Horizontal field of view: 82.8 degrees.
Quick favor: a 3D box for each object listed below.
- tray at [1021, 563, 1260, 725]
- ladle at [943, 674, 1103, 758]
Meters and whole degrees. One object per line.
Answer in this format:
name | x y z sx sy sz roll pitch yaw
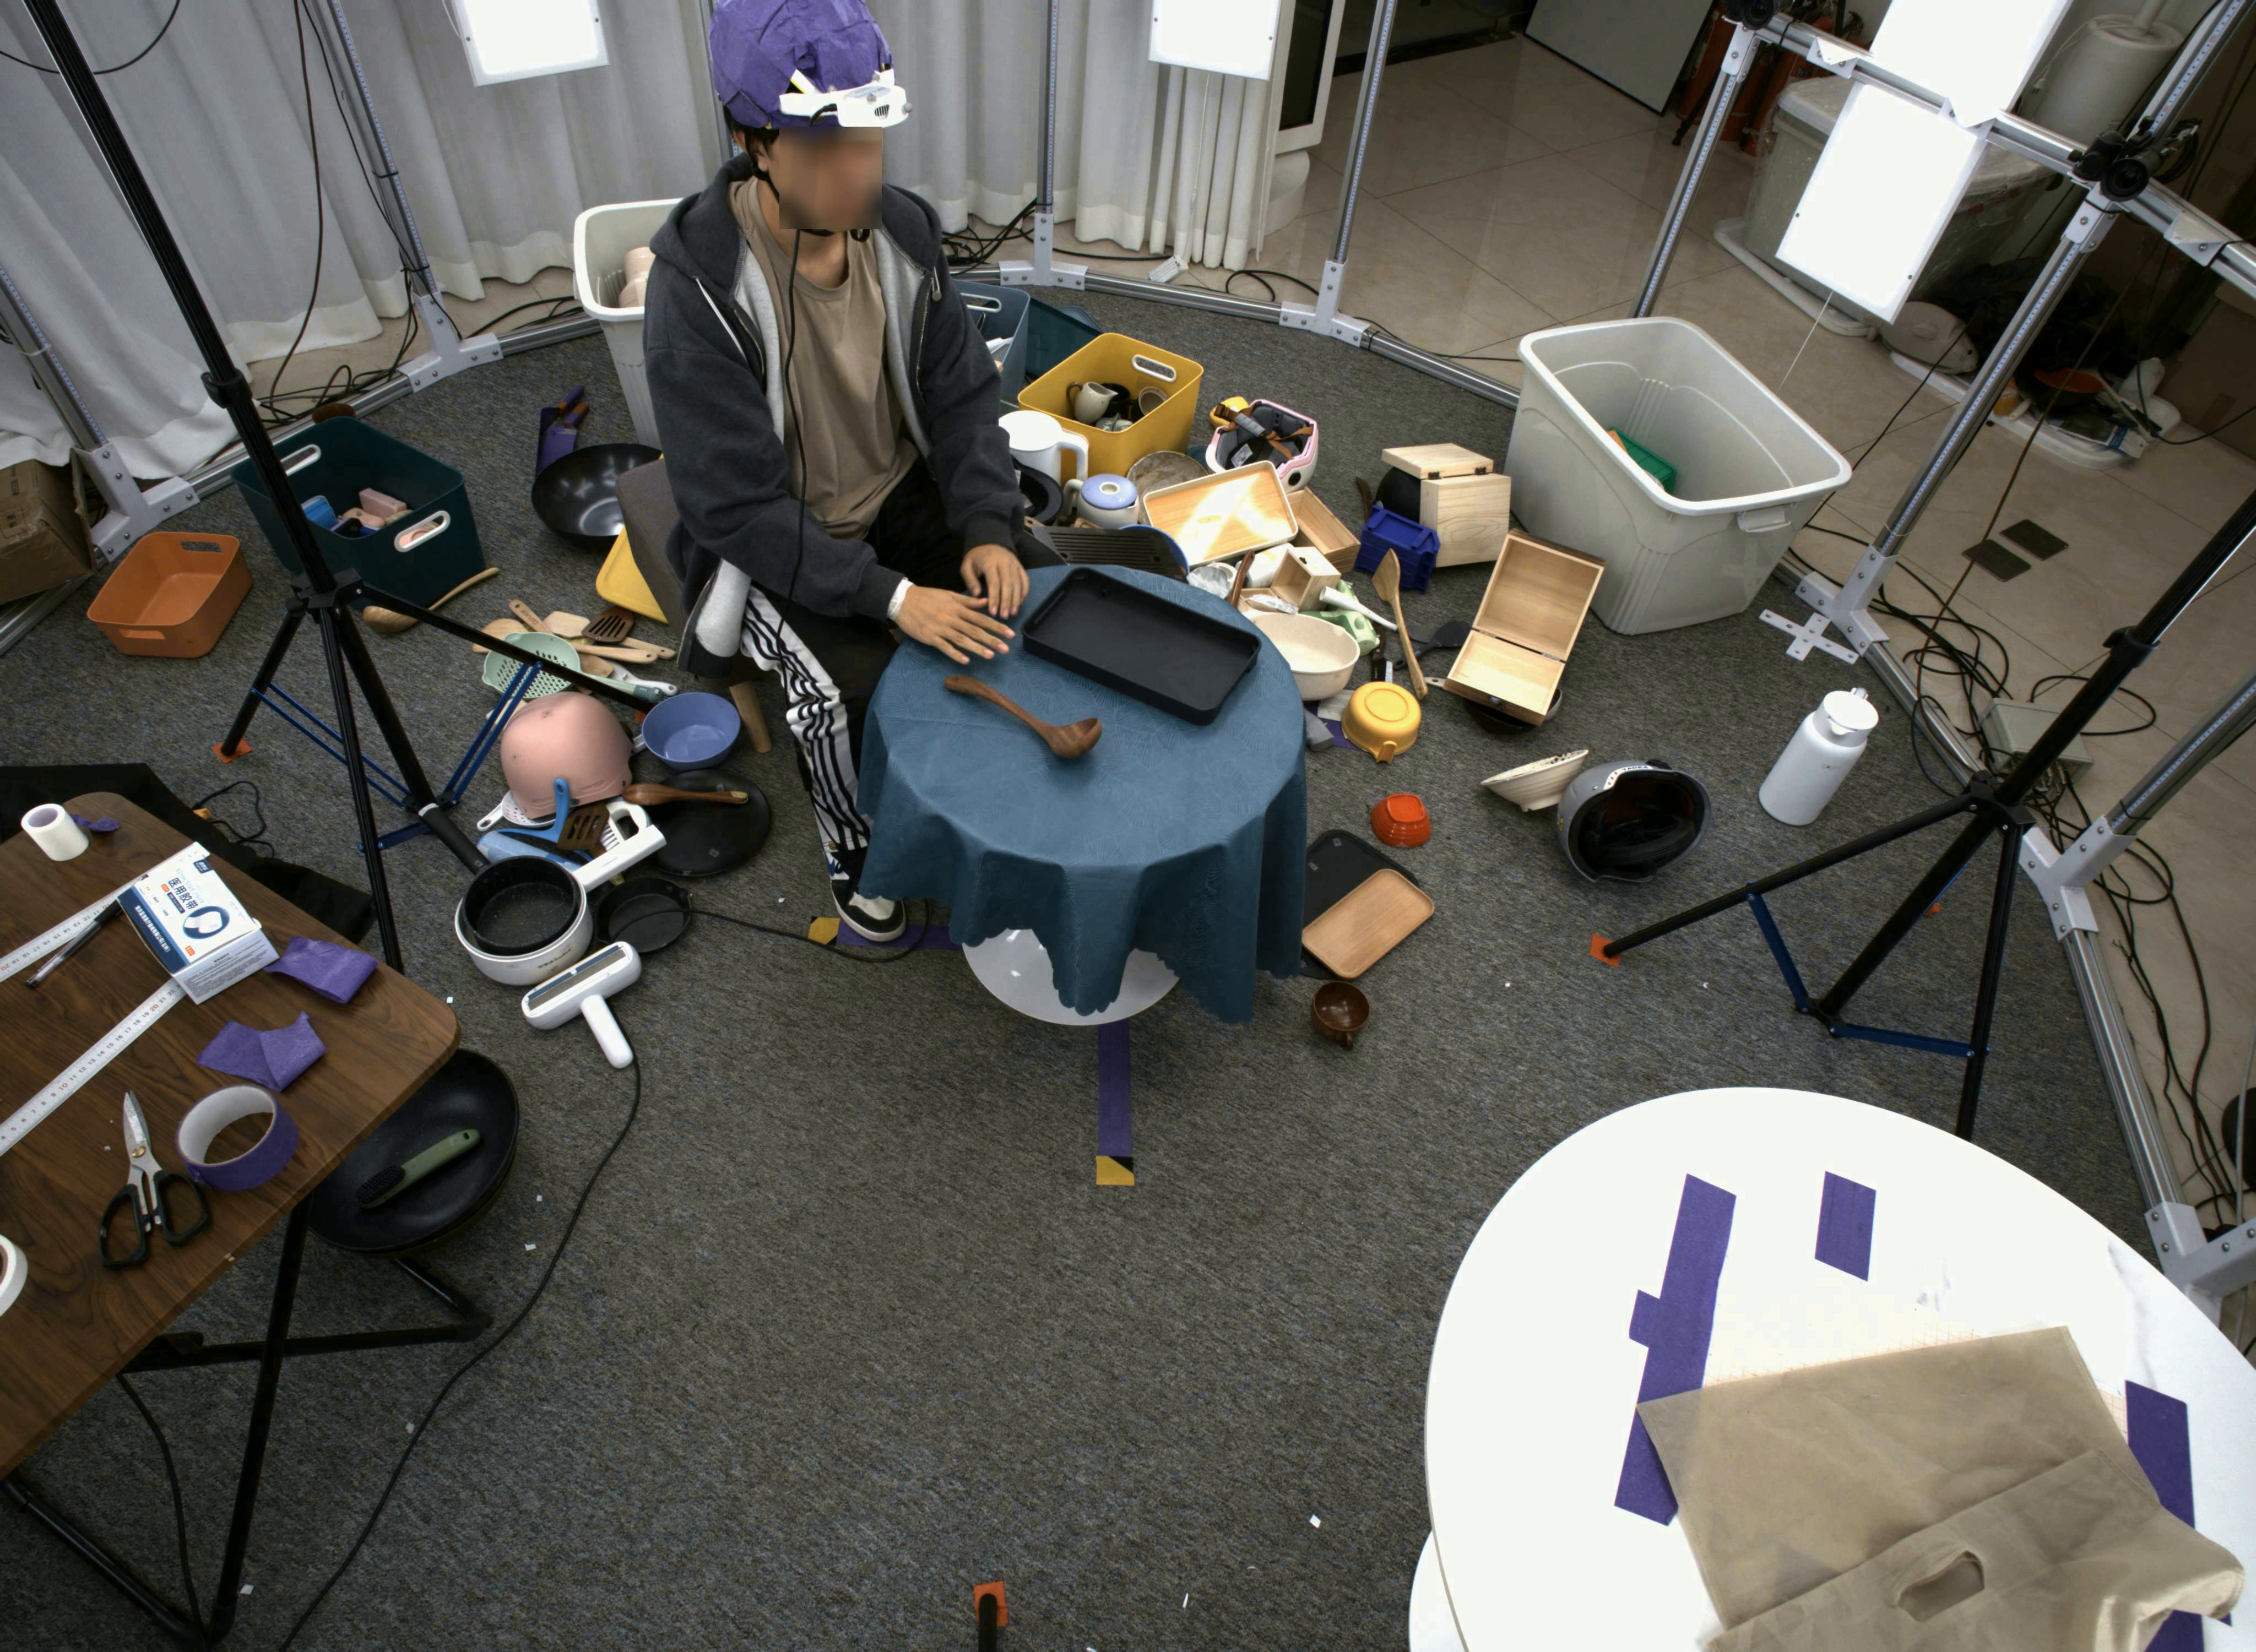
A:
tray | 0.018 -0.269 1.875 0.320 0.036 0.187 26 52 16
ladle | -0.149 -0.165 1.758 0.263 0.063 0.077 30 48 21
